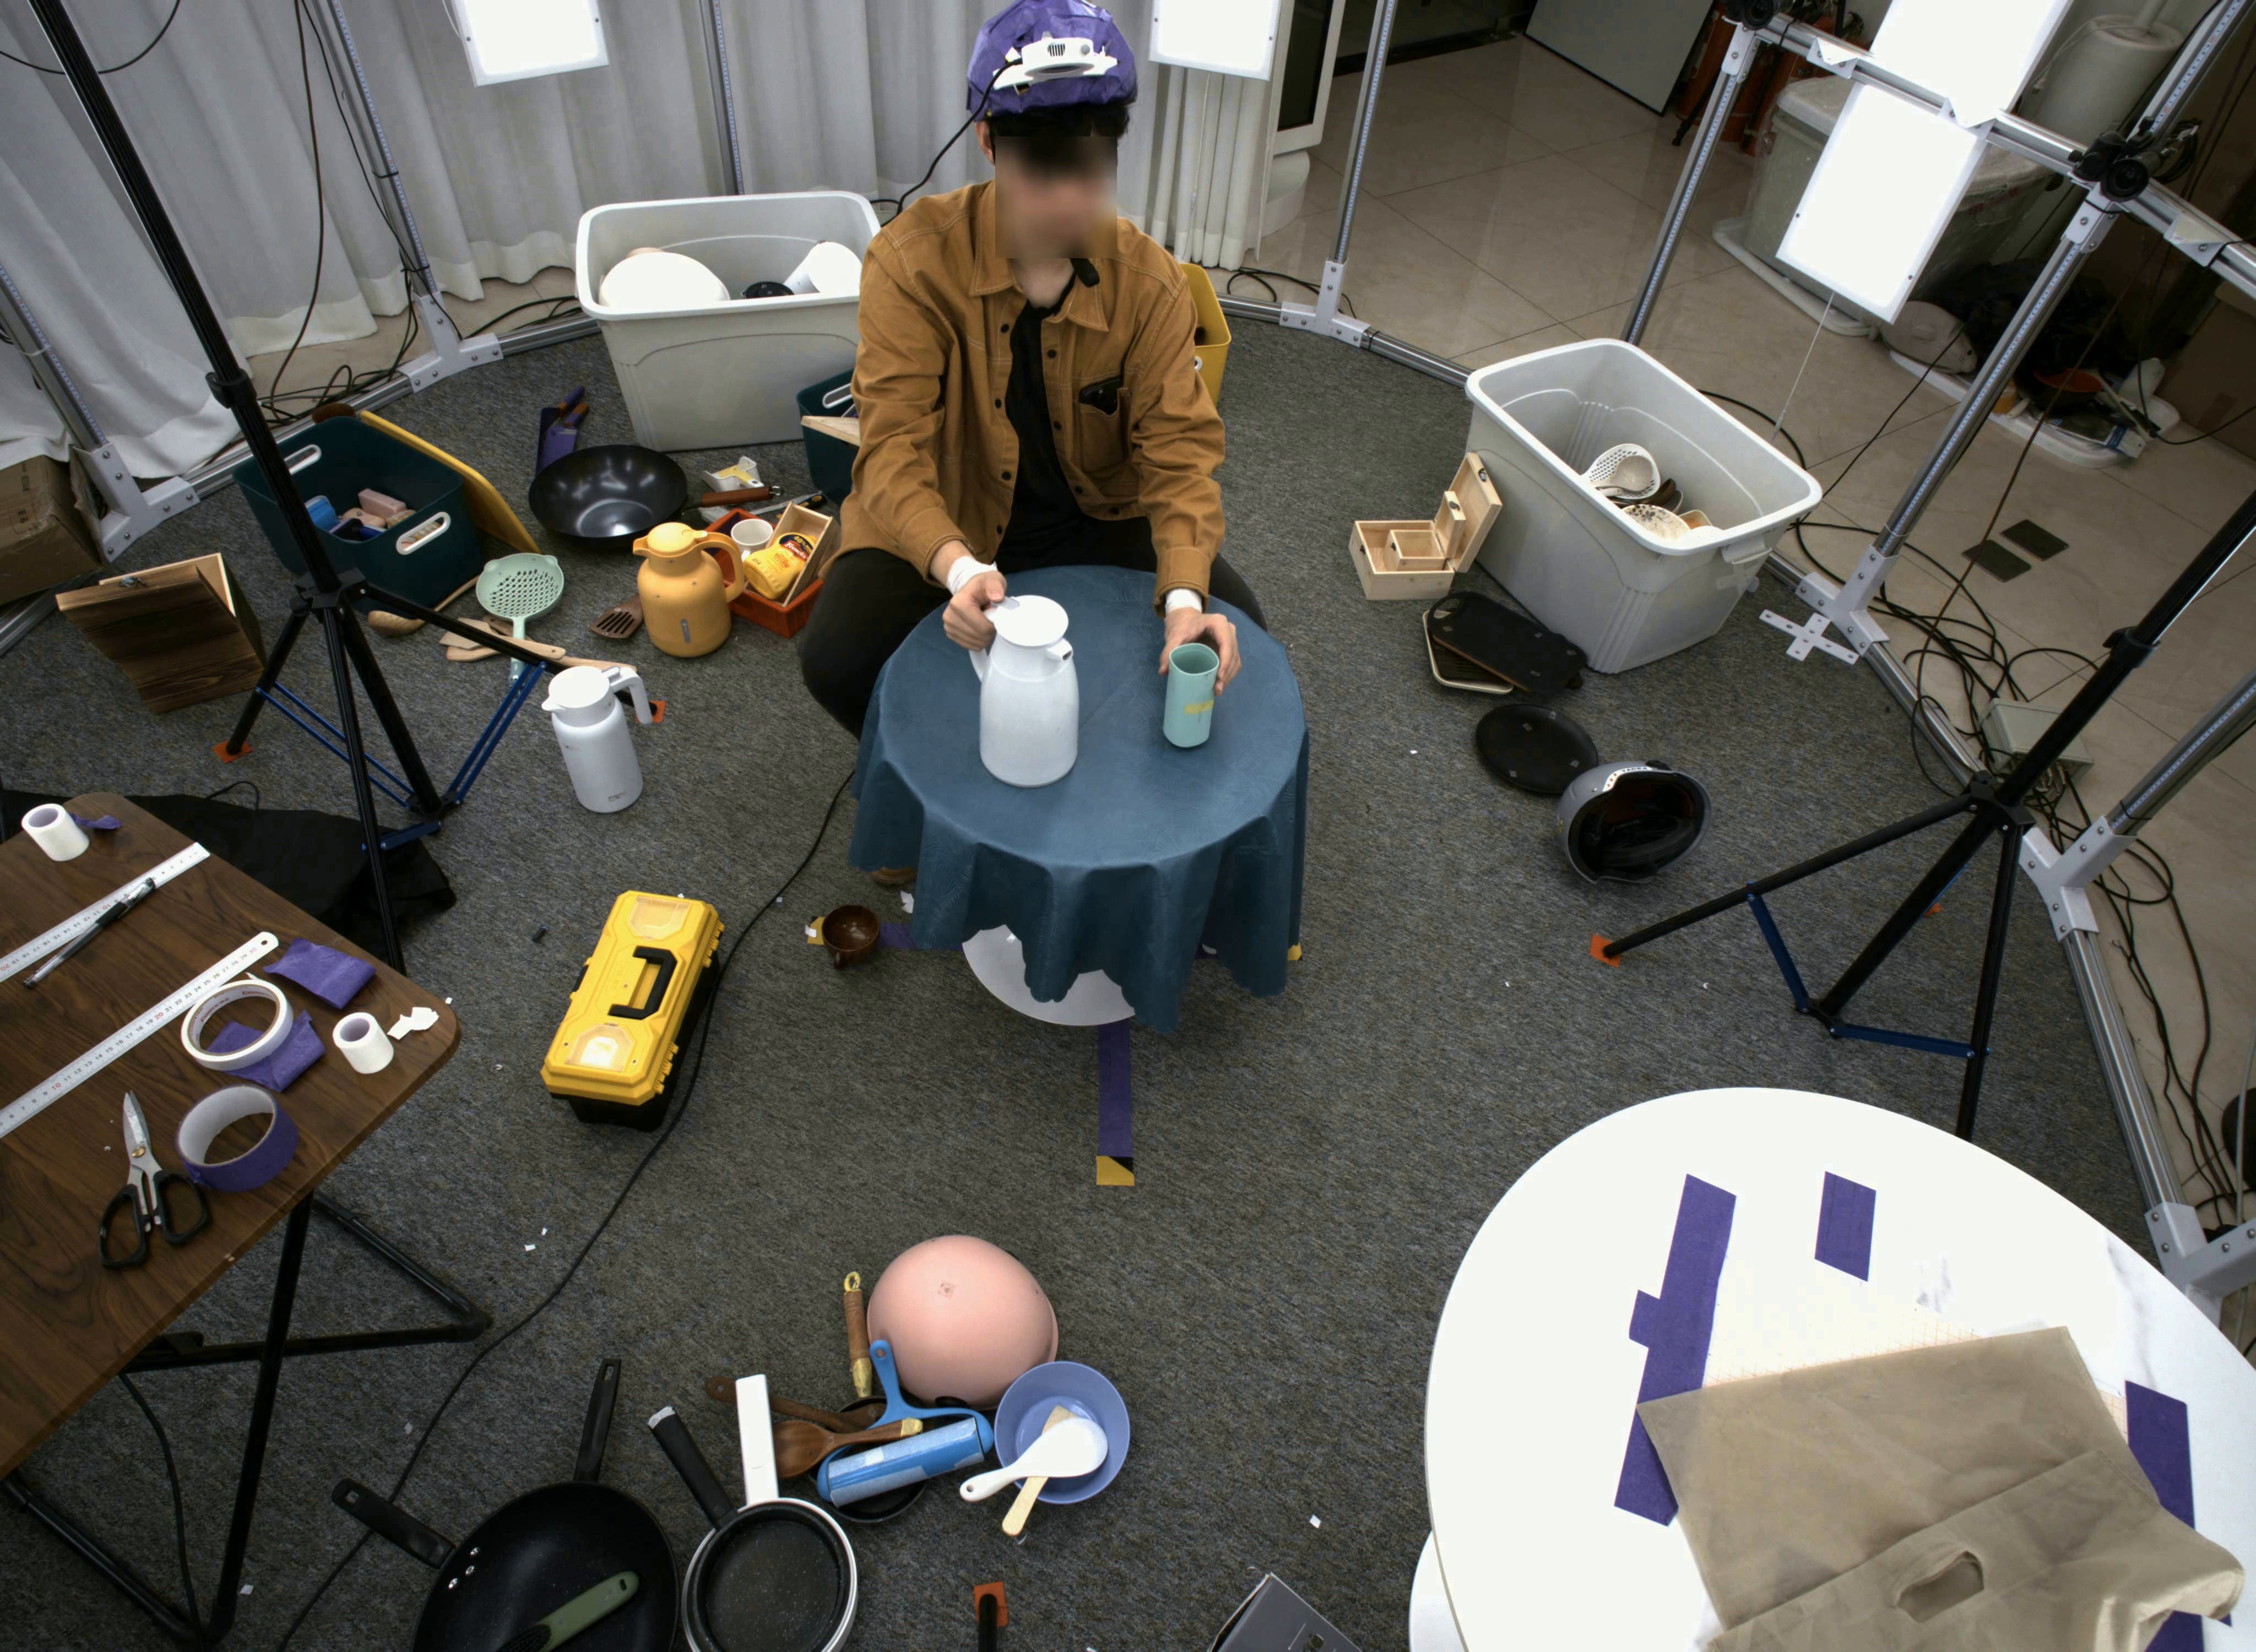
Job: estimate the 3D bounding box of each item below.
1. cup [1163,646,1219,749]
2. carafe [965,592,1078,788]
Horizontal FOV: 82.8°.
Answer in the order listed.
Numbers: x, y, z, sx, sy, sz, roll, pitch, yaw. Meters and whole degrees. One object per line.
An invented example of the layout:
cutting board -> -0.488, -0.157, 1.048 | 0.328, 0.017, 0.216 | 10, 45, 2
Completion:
cup -> 0.083, -0.174, 1.731 | 0.066, 0.129, 0.068 | 2, 46, -3
carafe -> -0.144, -0.188, 1.663 | 0.170, 0.242, 0.134 | 34, 56, 23
